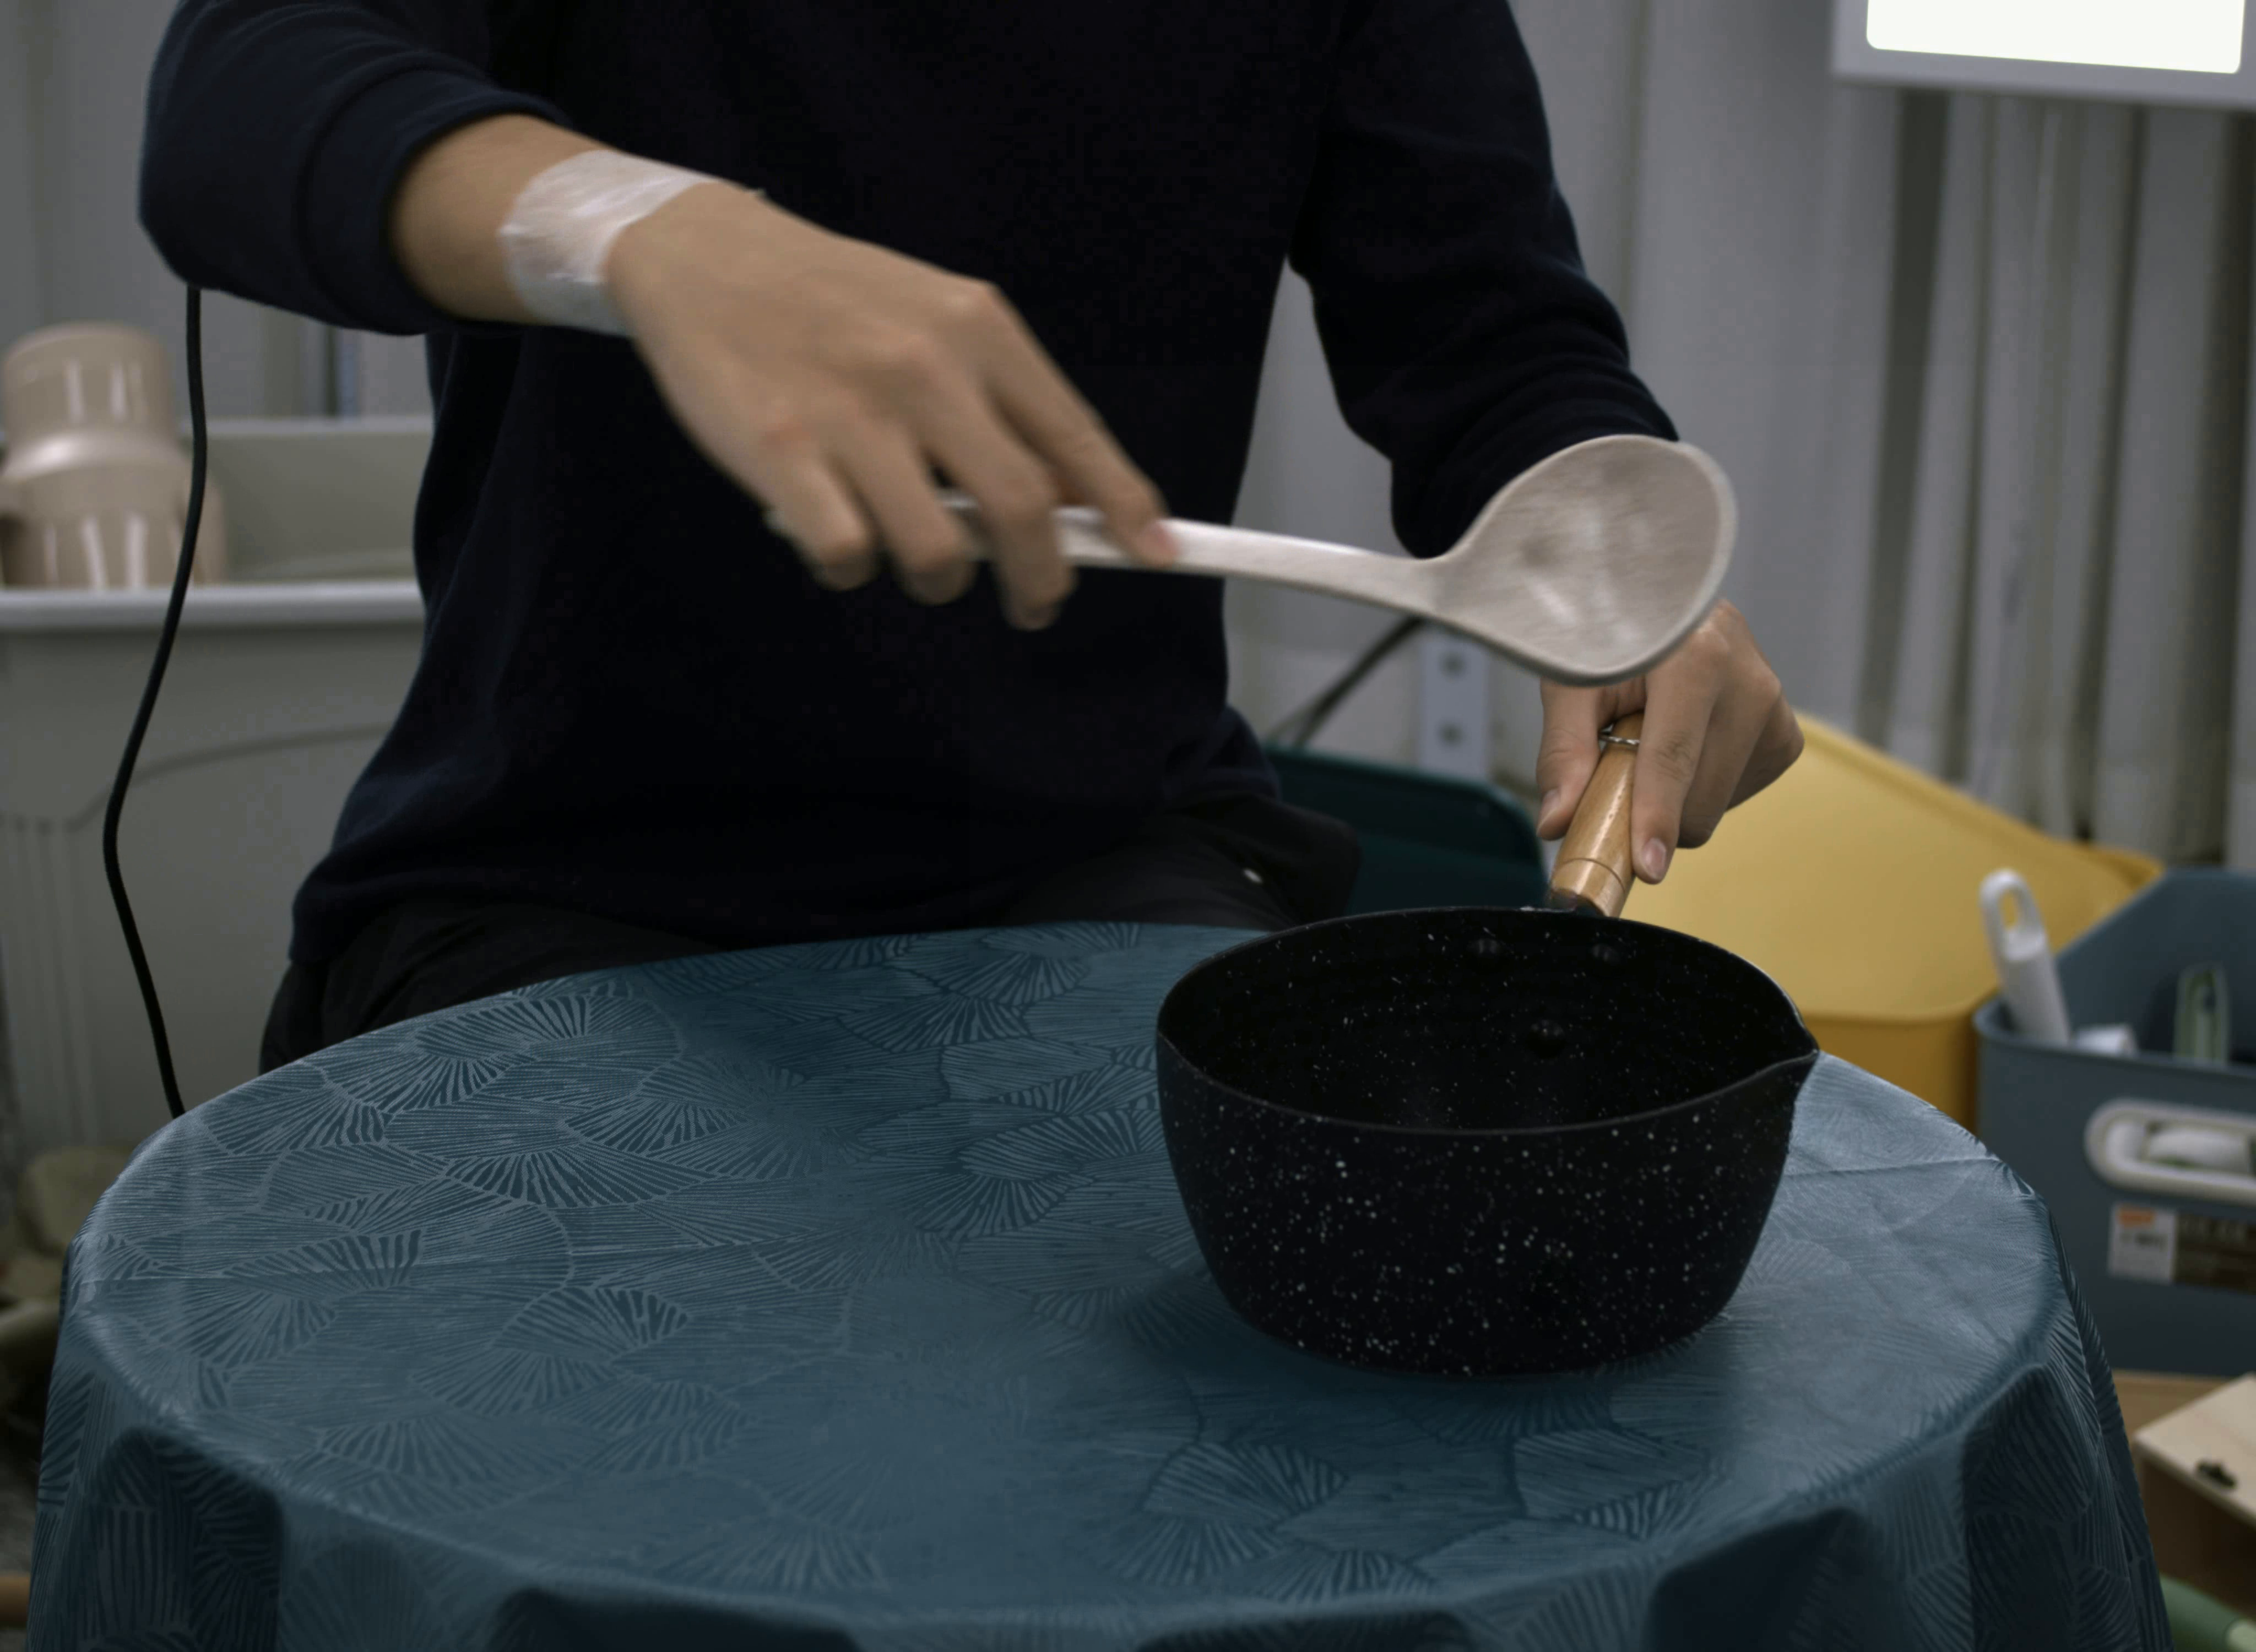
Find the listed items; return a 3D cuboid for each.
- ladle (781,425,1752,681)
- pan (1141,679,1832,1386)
[{"bbox_3d":[0.042,-0.092,1.443,0.276,0.070,0.088,8,43,-27],"label":"ladle"},{"bbox_3d":[0.123,0.057,1.593,0.206,0.109,0.342,3,20,16],"label":"pan"}]
